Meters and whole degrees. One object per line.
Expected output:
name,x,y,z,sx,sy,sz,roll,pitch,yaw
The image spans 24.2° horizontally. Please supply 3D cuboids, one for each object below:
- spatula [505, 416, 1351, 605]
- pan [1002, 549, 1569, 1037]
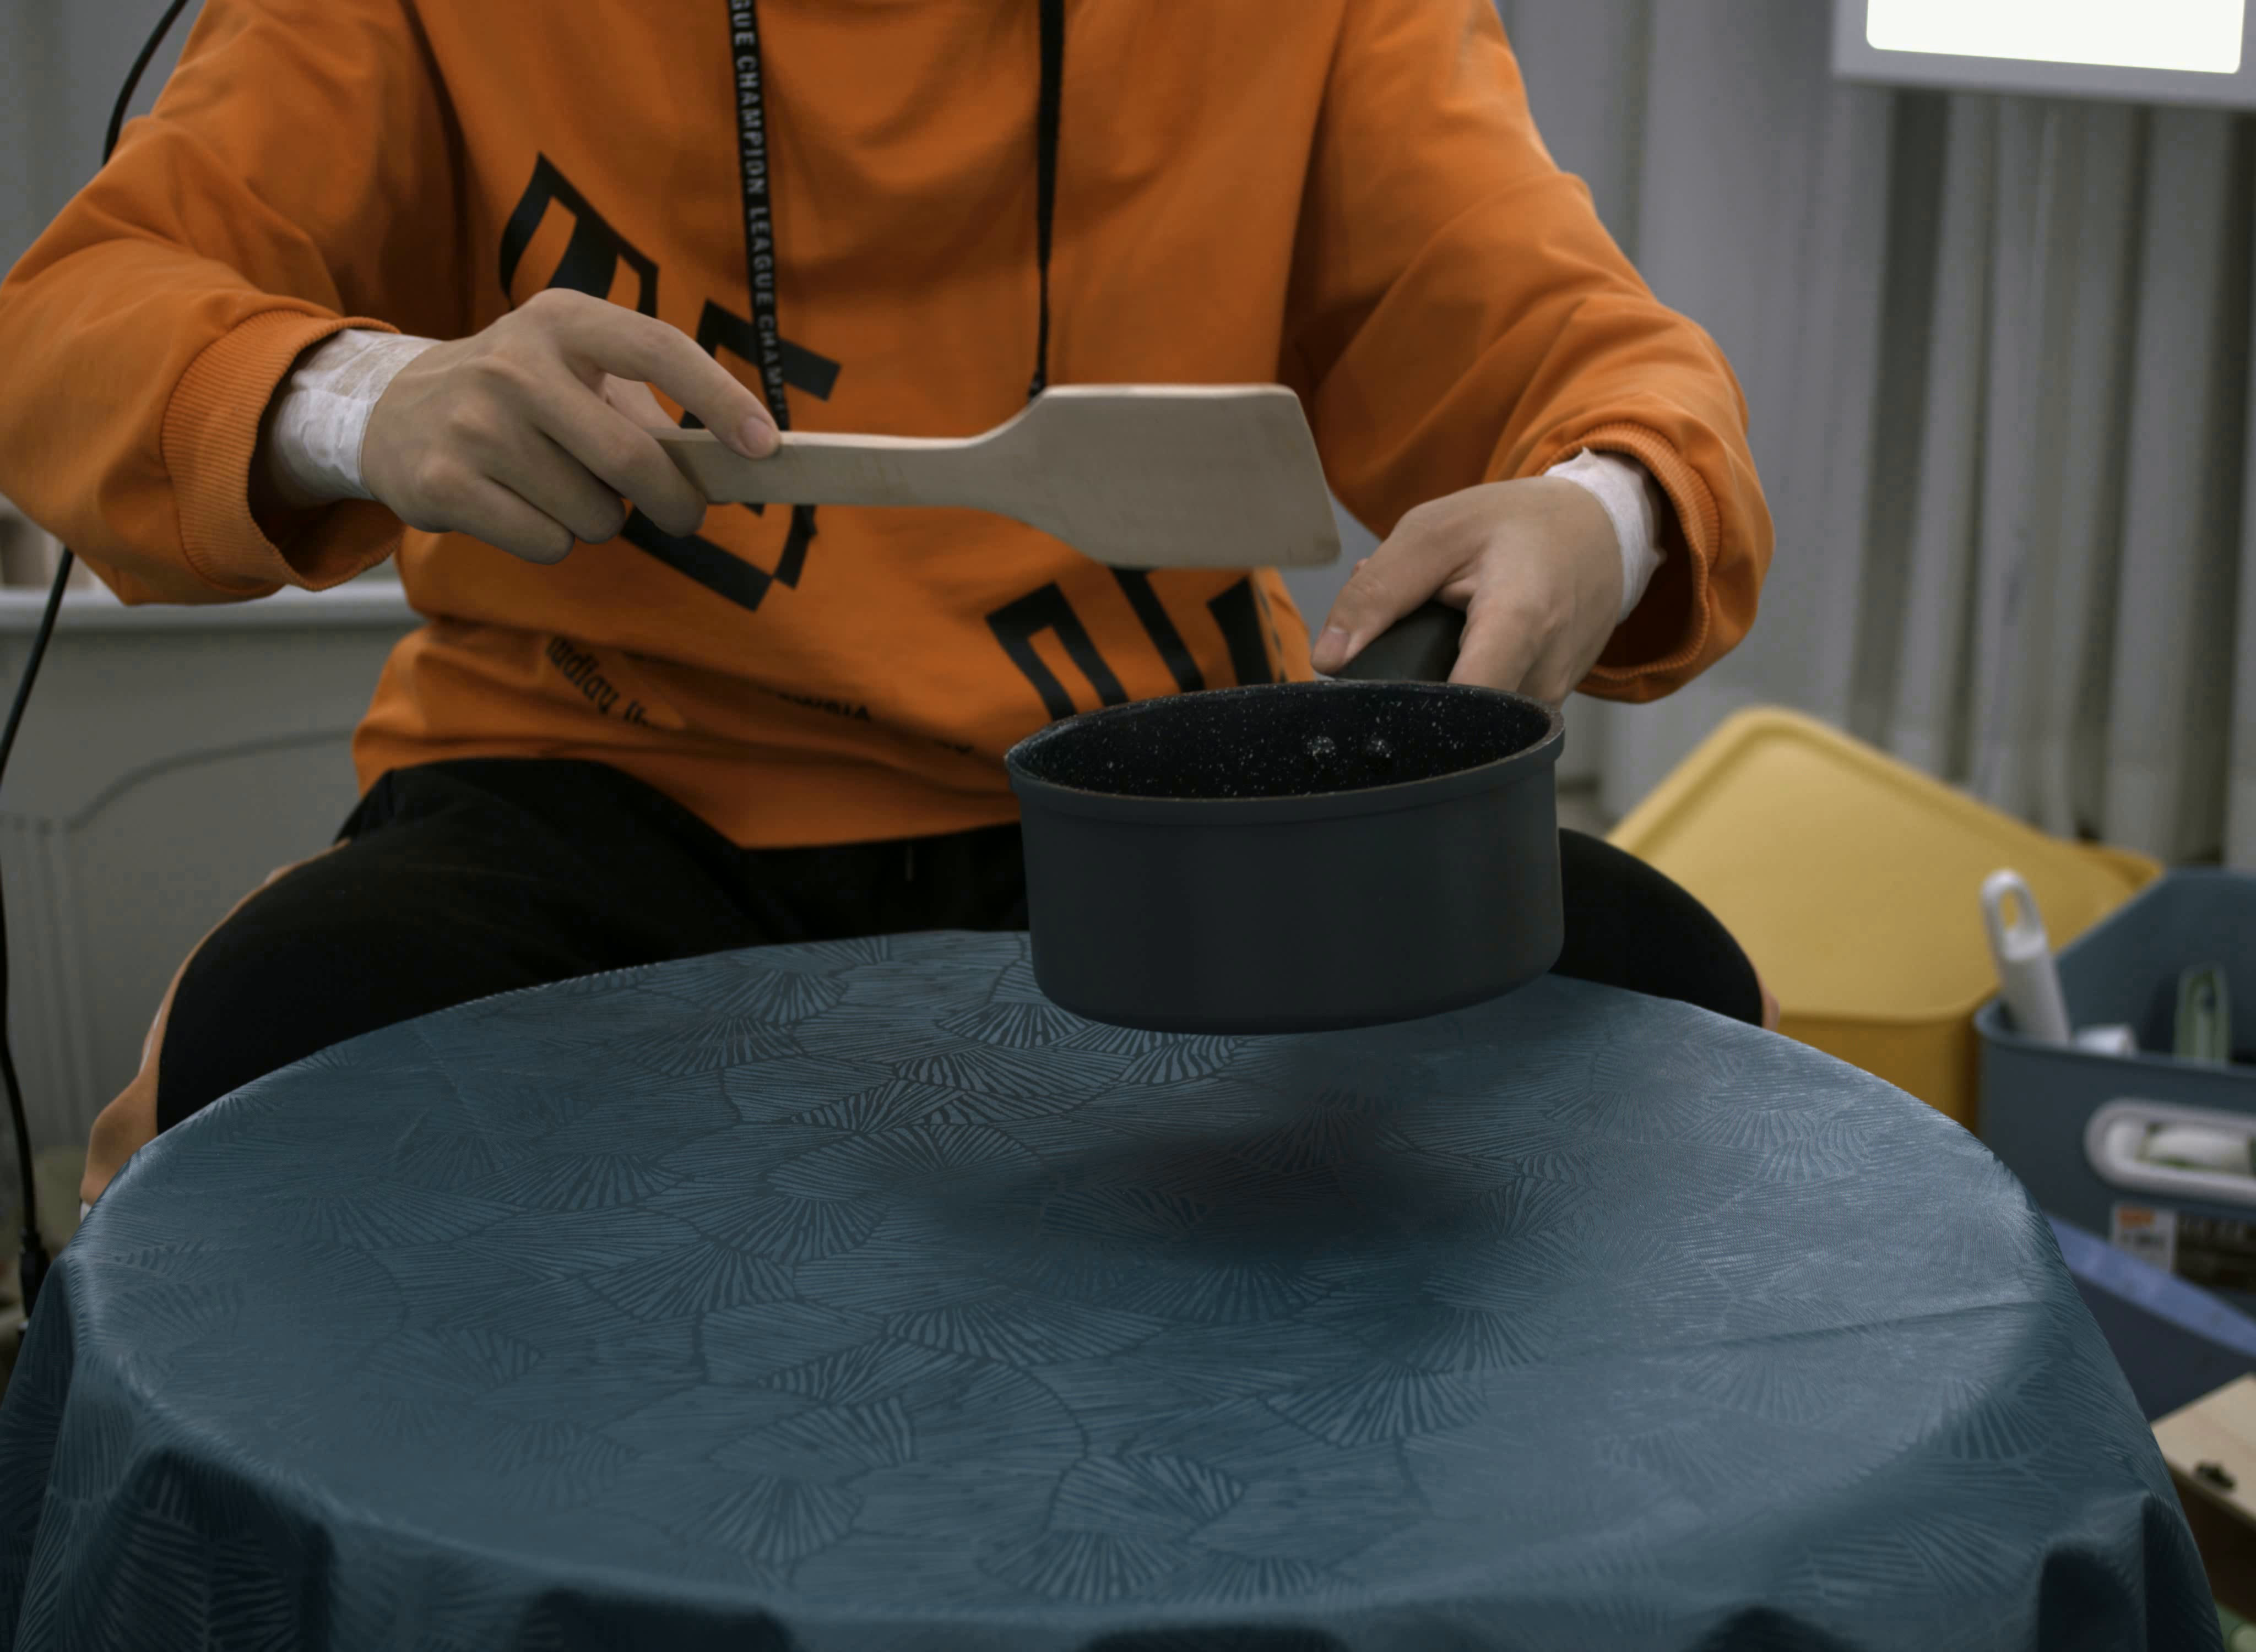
spatula,-0.071,-0.105,1.665,0.290,0.073,0.010,4,44,23
pan,0.075,-0.013,1.676,0.170,0.087,0.329,1,15,19
